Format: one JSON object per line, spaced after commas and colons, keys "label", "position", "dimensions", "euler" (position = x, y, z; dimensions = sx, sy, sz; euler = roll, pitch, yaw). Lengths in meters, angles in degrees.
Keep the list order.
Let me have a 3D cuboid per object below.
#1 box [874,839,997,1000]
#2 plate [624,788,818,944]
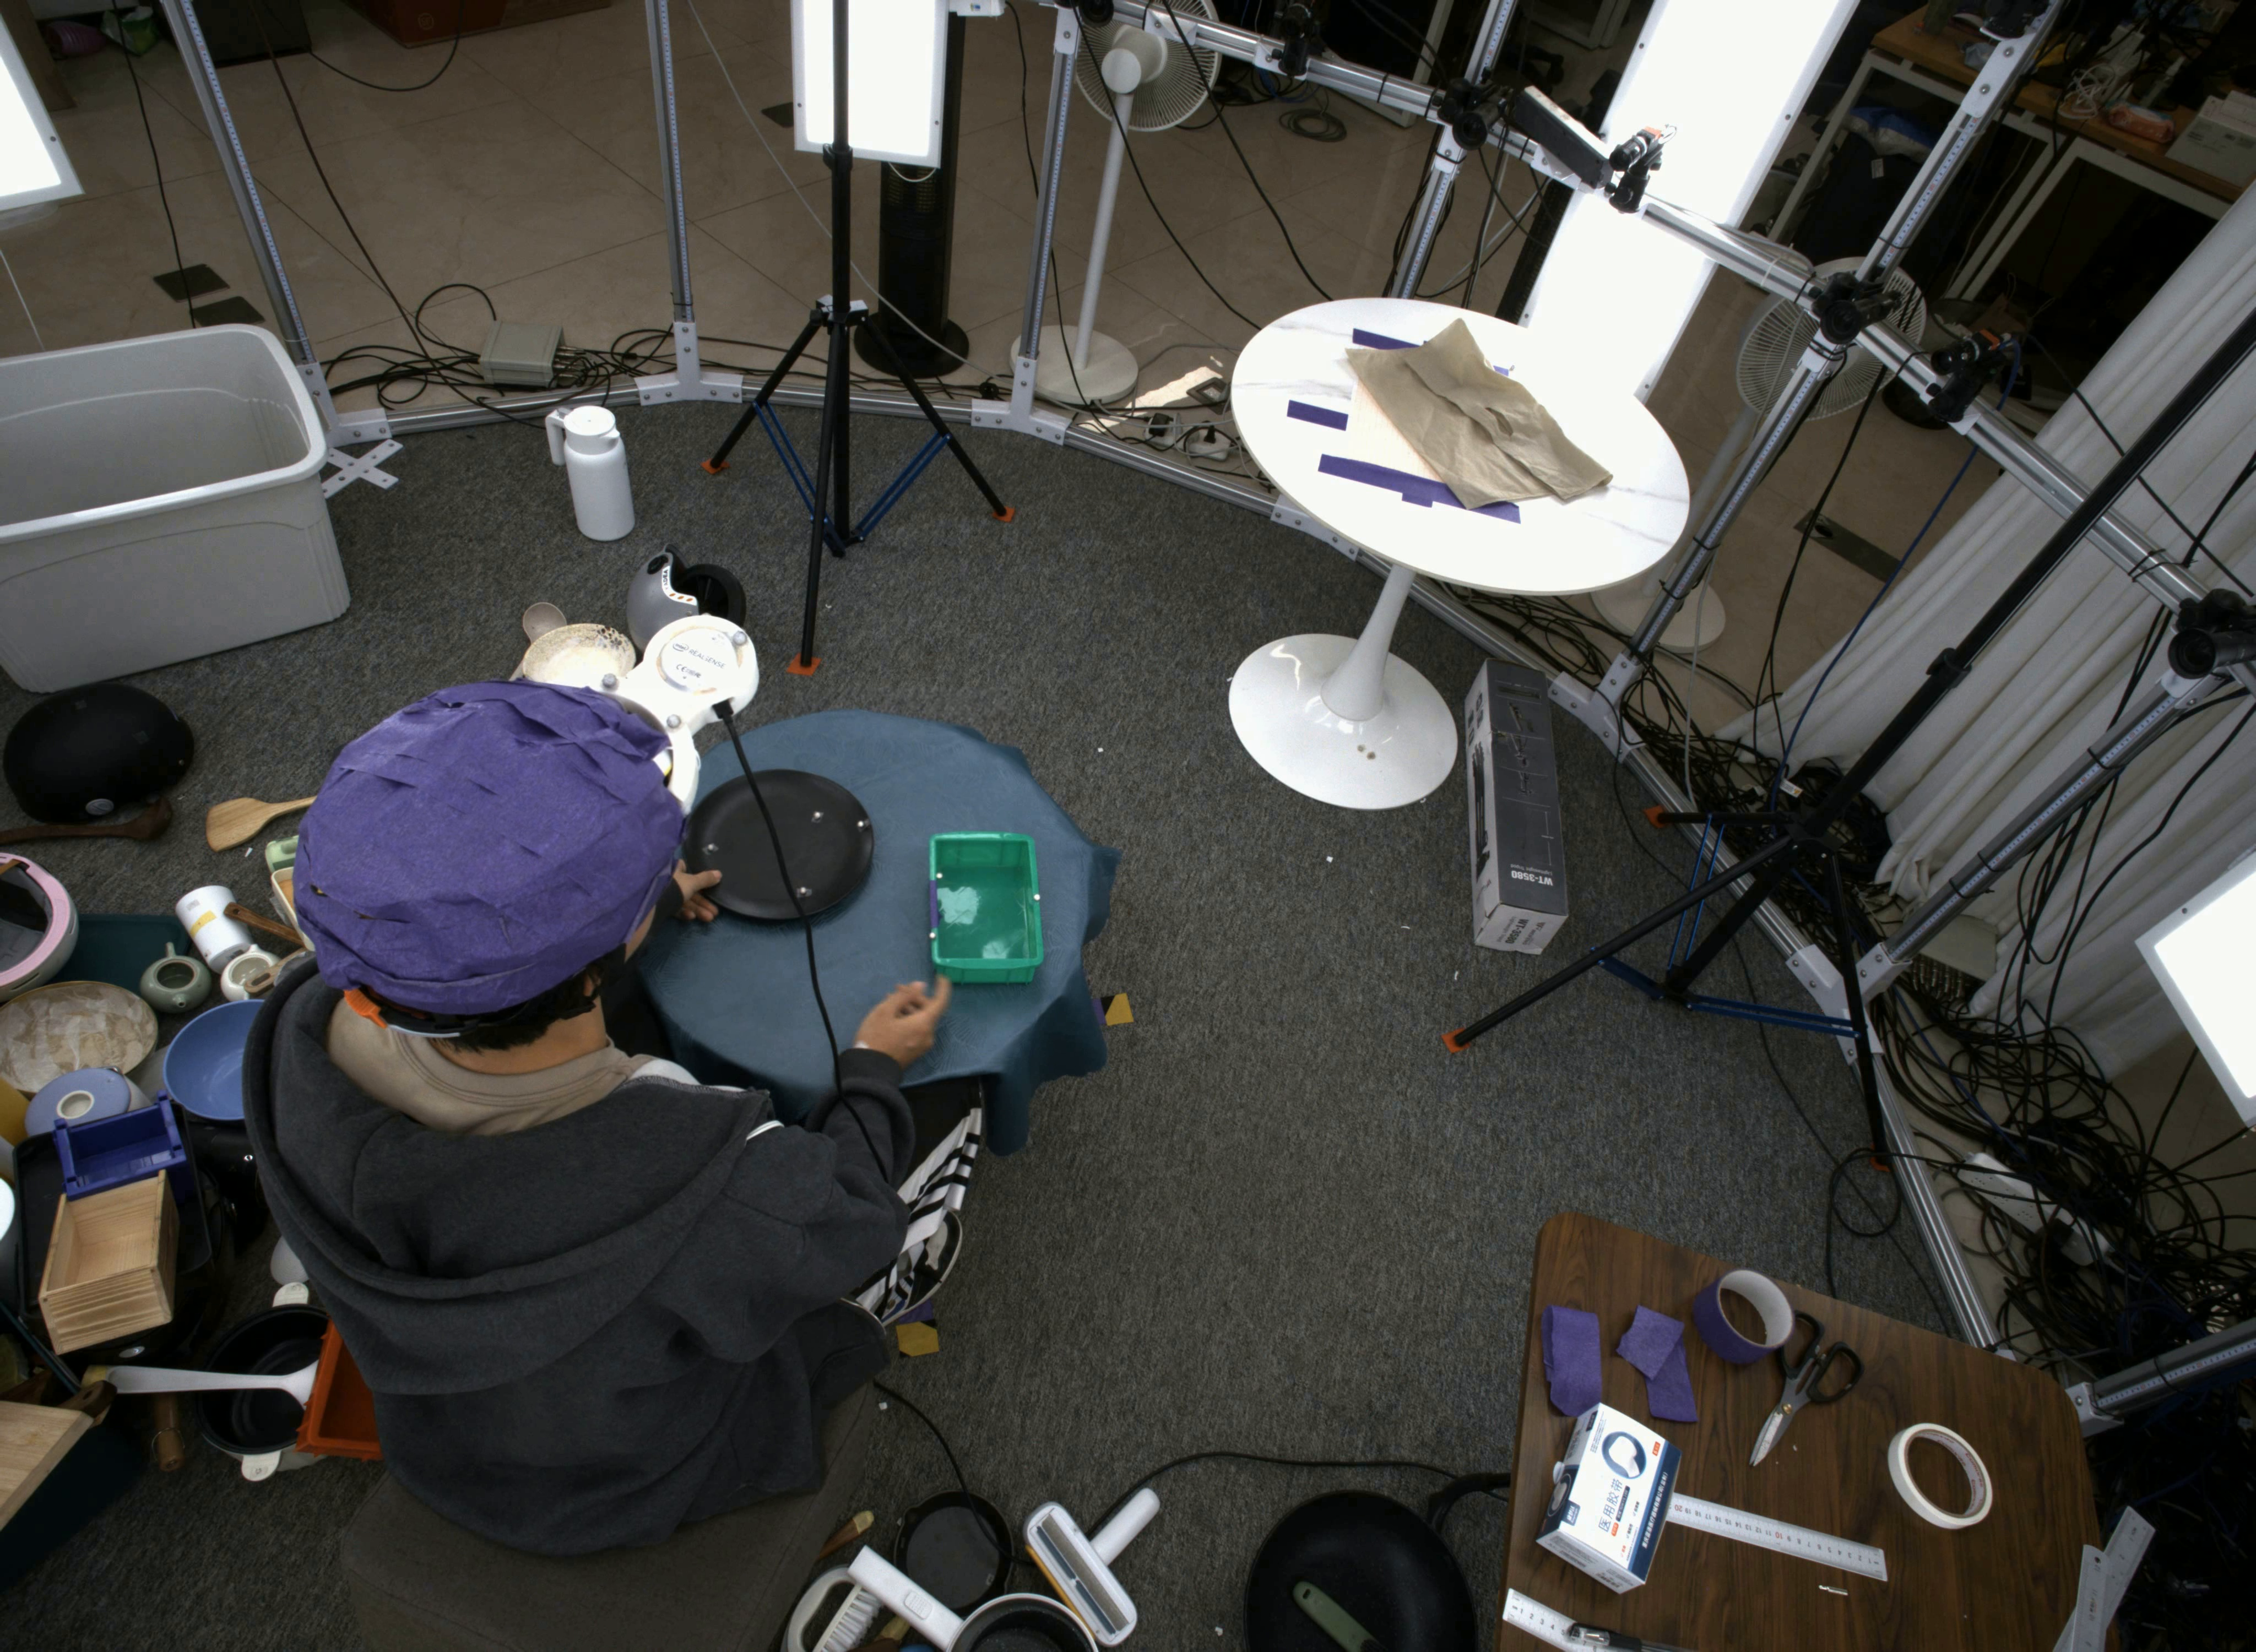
{"label": "box", "position": [-0.246, 0.119, 1.645], "dimensions": [0.139, 0.066, 0.206], "euler": [-4, 57, -14]}
{"label": "plate", "position": [-0.519, 0.051, 1.651], "dimensions": [0.244, 0.024, 0.240], "euler": [8, 52, -9]}
